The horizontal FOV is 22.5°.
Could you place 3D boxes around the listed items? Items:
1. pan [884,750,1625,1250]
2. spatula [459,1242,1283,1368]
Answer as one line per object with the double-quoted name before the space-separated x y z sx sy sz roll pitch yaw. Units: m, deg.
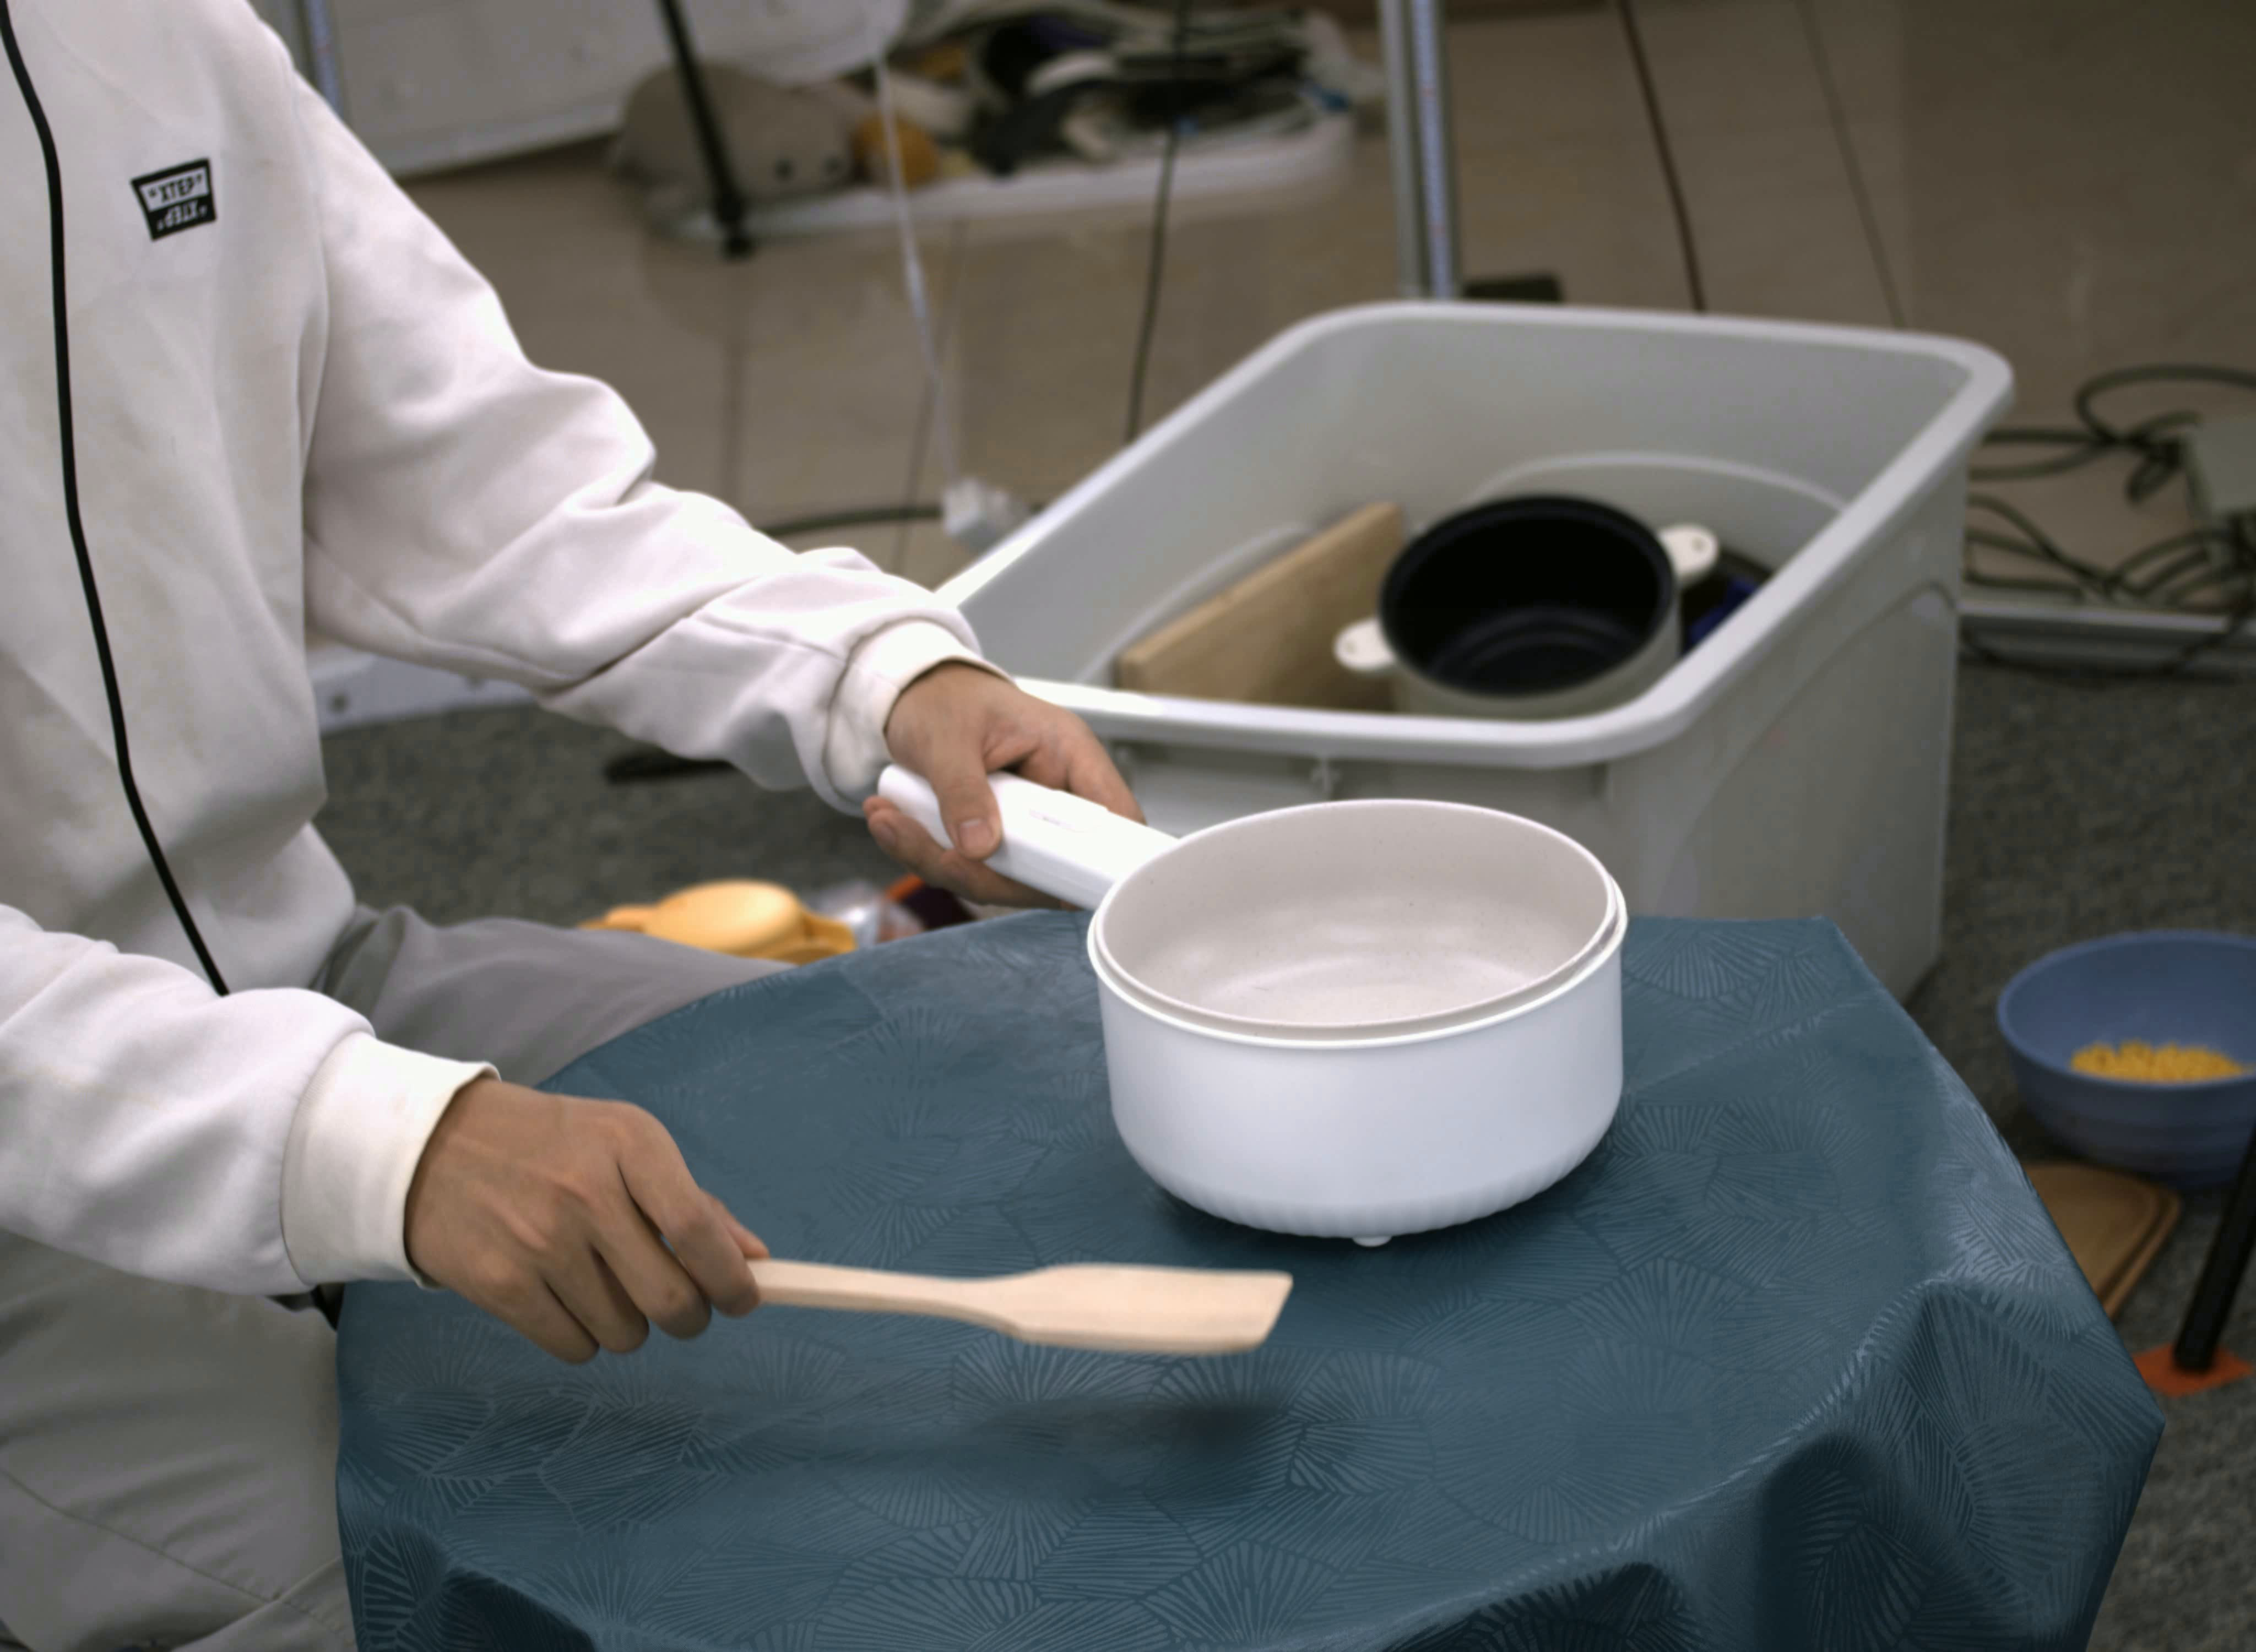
"pan" 0.037 0.059 2.186 0.199 0.104 0.352 -27 32 -36
"spatula" -0.094 0.166 1.991 0.292 0.011 0.071 4 17 10
